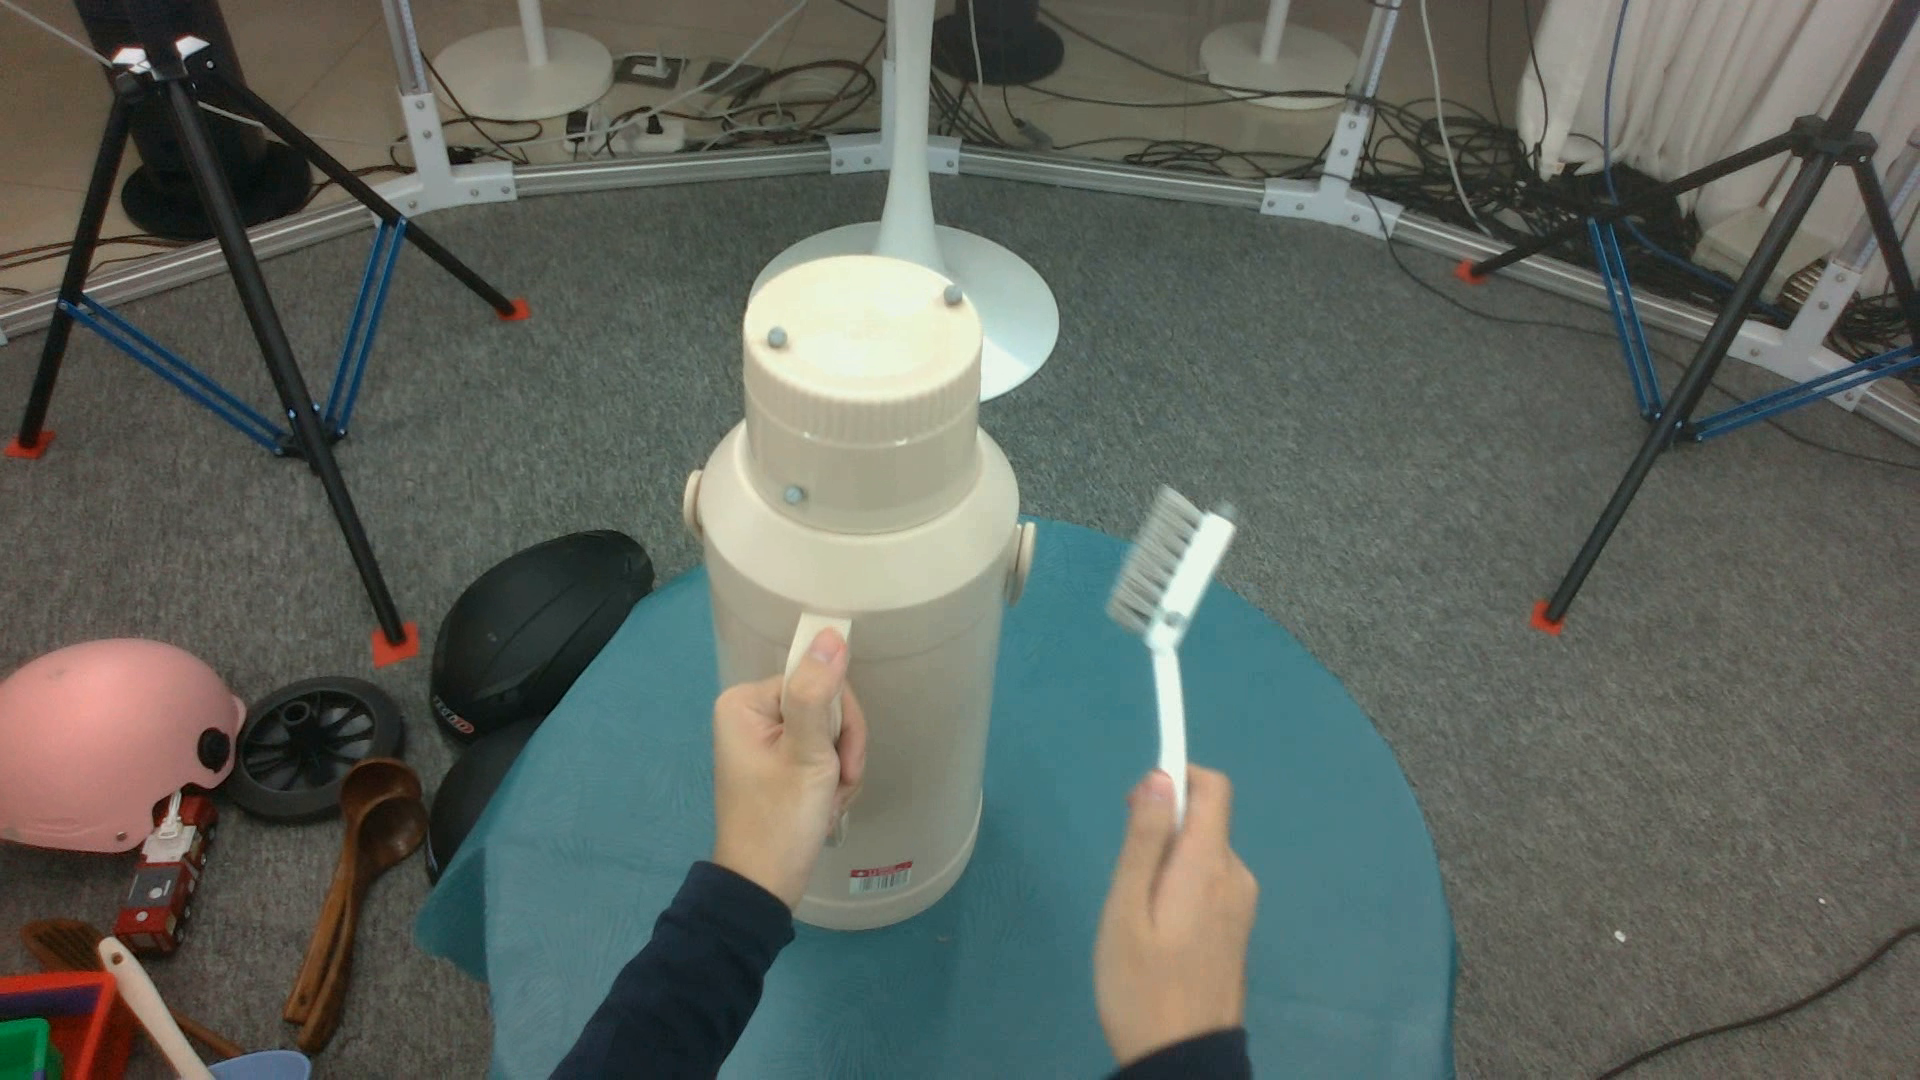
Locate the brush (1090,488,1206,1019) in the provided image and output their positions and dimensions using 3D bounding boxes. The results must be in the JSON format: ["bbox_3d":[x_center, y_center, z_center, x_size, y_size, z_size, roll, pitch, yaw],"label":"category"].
[{"bbox_3d":[0.080,0.097,0.643,0.050,0.034,0.243,5,88,8],"label":"brush"}]

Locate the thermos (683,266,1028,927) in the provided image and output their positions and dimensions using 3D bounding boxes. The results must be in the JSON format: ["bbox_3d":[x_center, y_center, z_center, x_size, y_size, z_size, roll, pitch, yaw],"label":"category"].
[{"bbox_3d":[-0.062,0.056,0.746,0.175,0.404,0.208,9,46,1],"label":"thermos"}]
